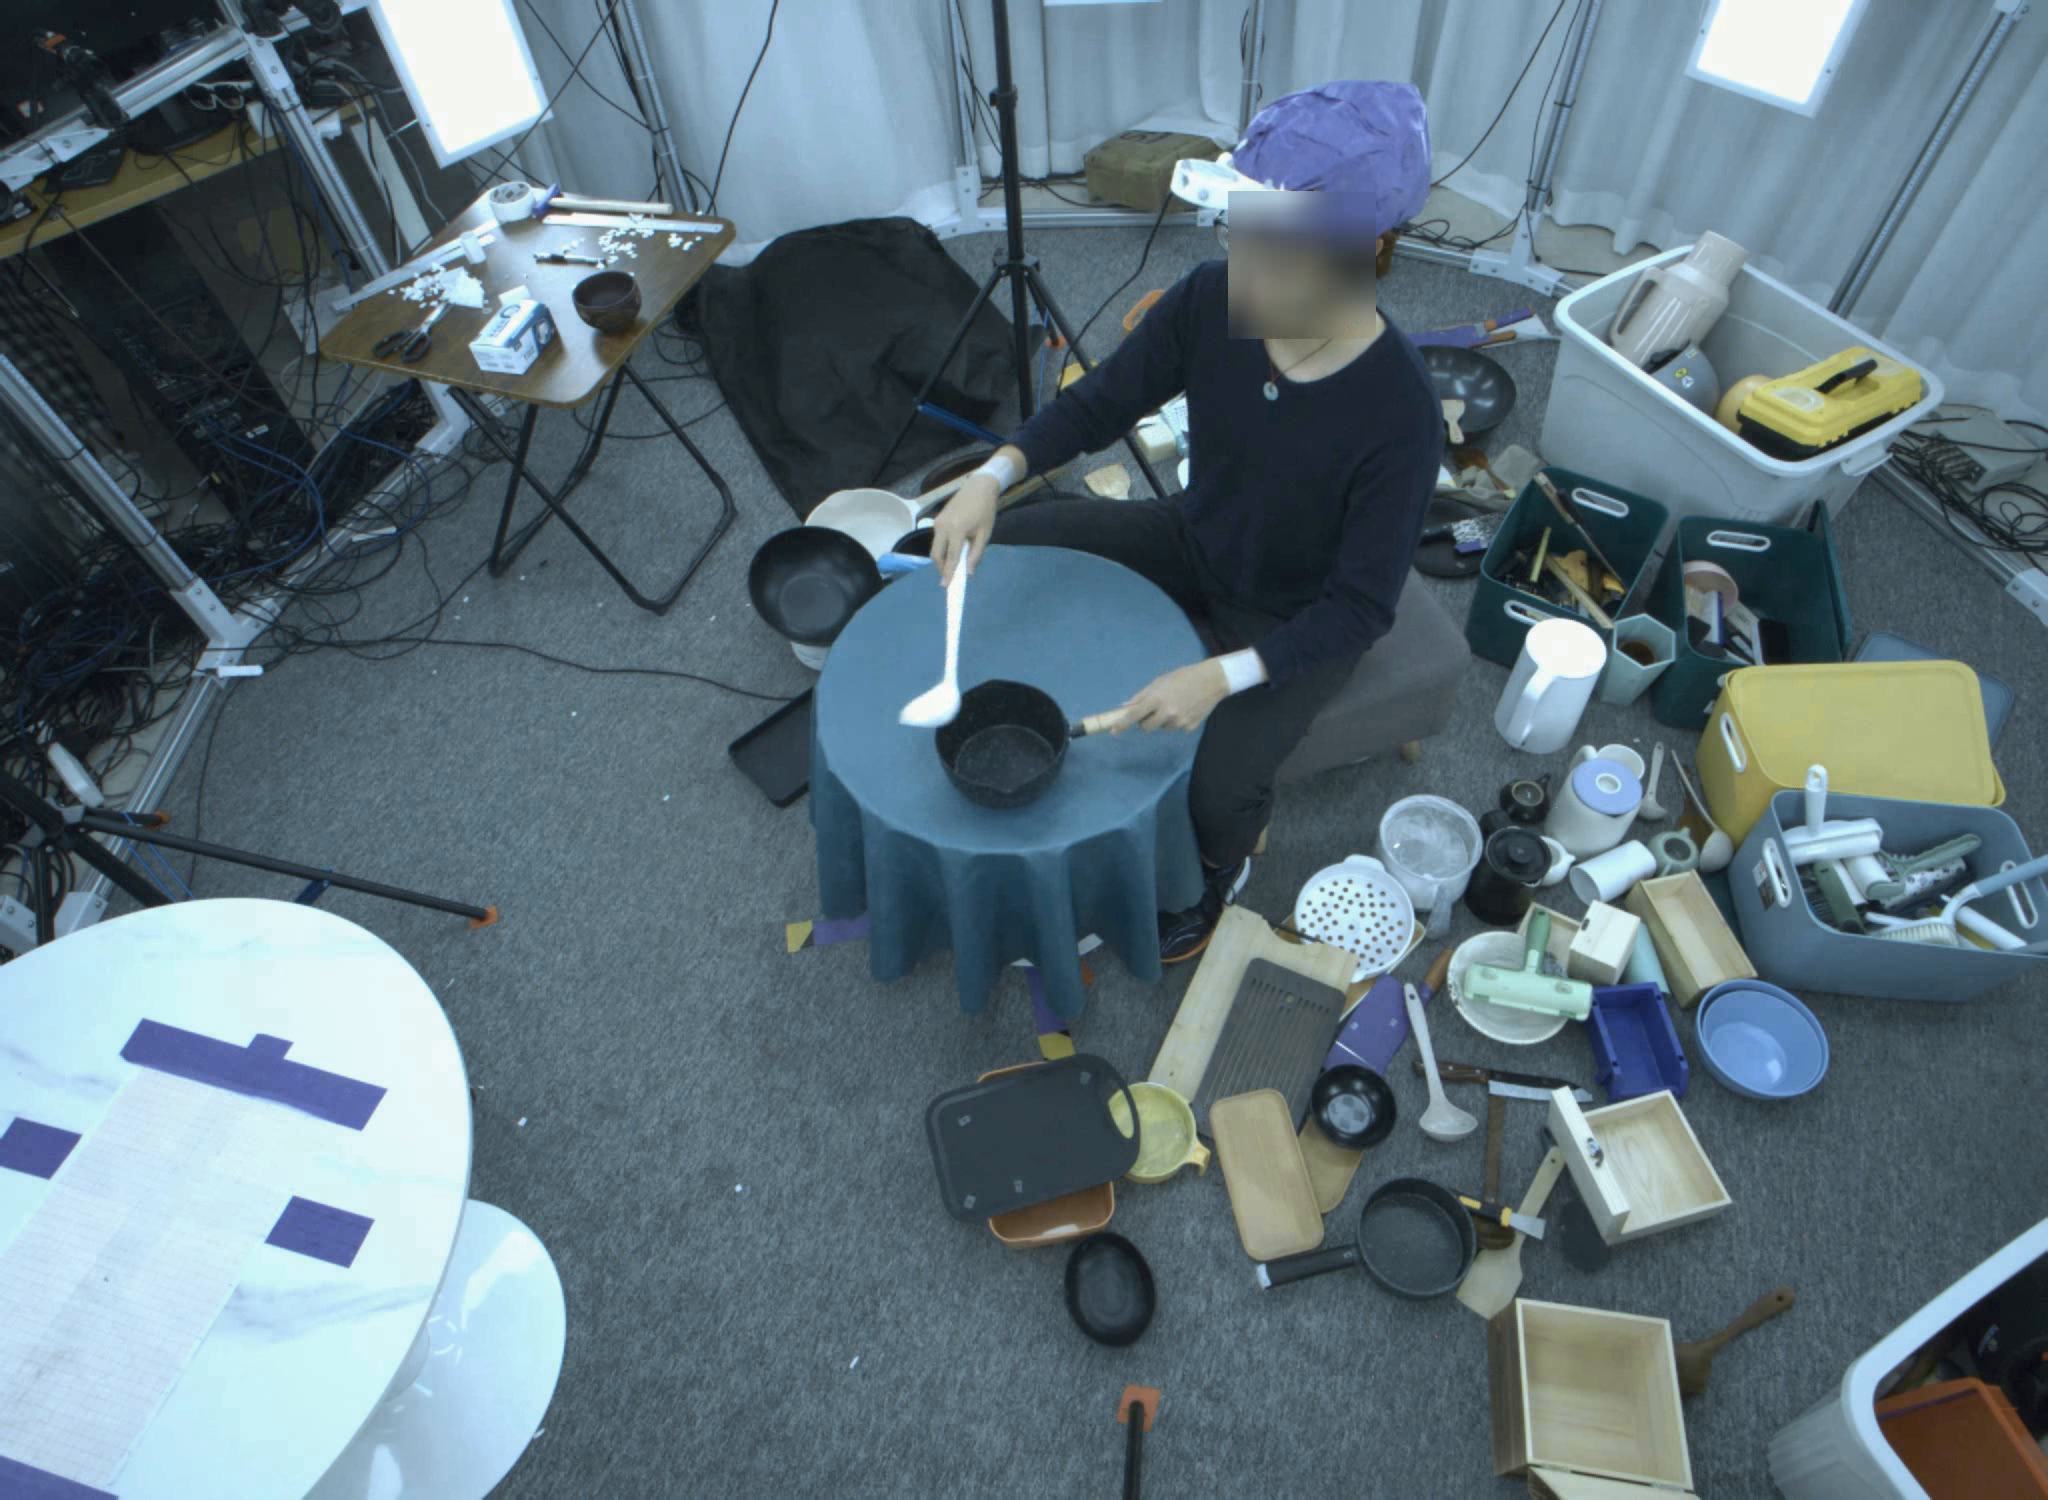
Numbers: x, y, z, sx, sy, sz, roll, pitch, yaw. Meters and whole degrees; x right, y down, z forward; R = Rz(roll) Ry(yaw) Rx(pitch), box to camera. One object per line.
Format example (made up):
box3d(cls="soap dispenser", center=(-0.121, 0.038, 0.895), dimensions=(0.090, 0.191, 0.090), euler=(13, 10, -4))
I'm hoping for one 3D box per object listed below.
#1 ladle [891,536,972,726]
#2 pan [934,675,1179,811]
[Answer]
box3d(cls="ladle", center=(-0.121, -0.166, 1.681), dimensions=(0.088, 0.071, 0.291), euler=(-9, 67, 45))
box3d(cls="pan", center=(0.048, -0.019, 1.732), dimensions=(0.343, 0.109, 0.204), euler=(-10, 54, -3))
